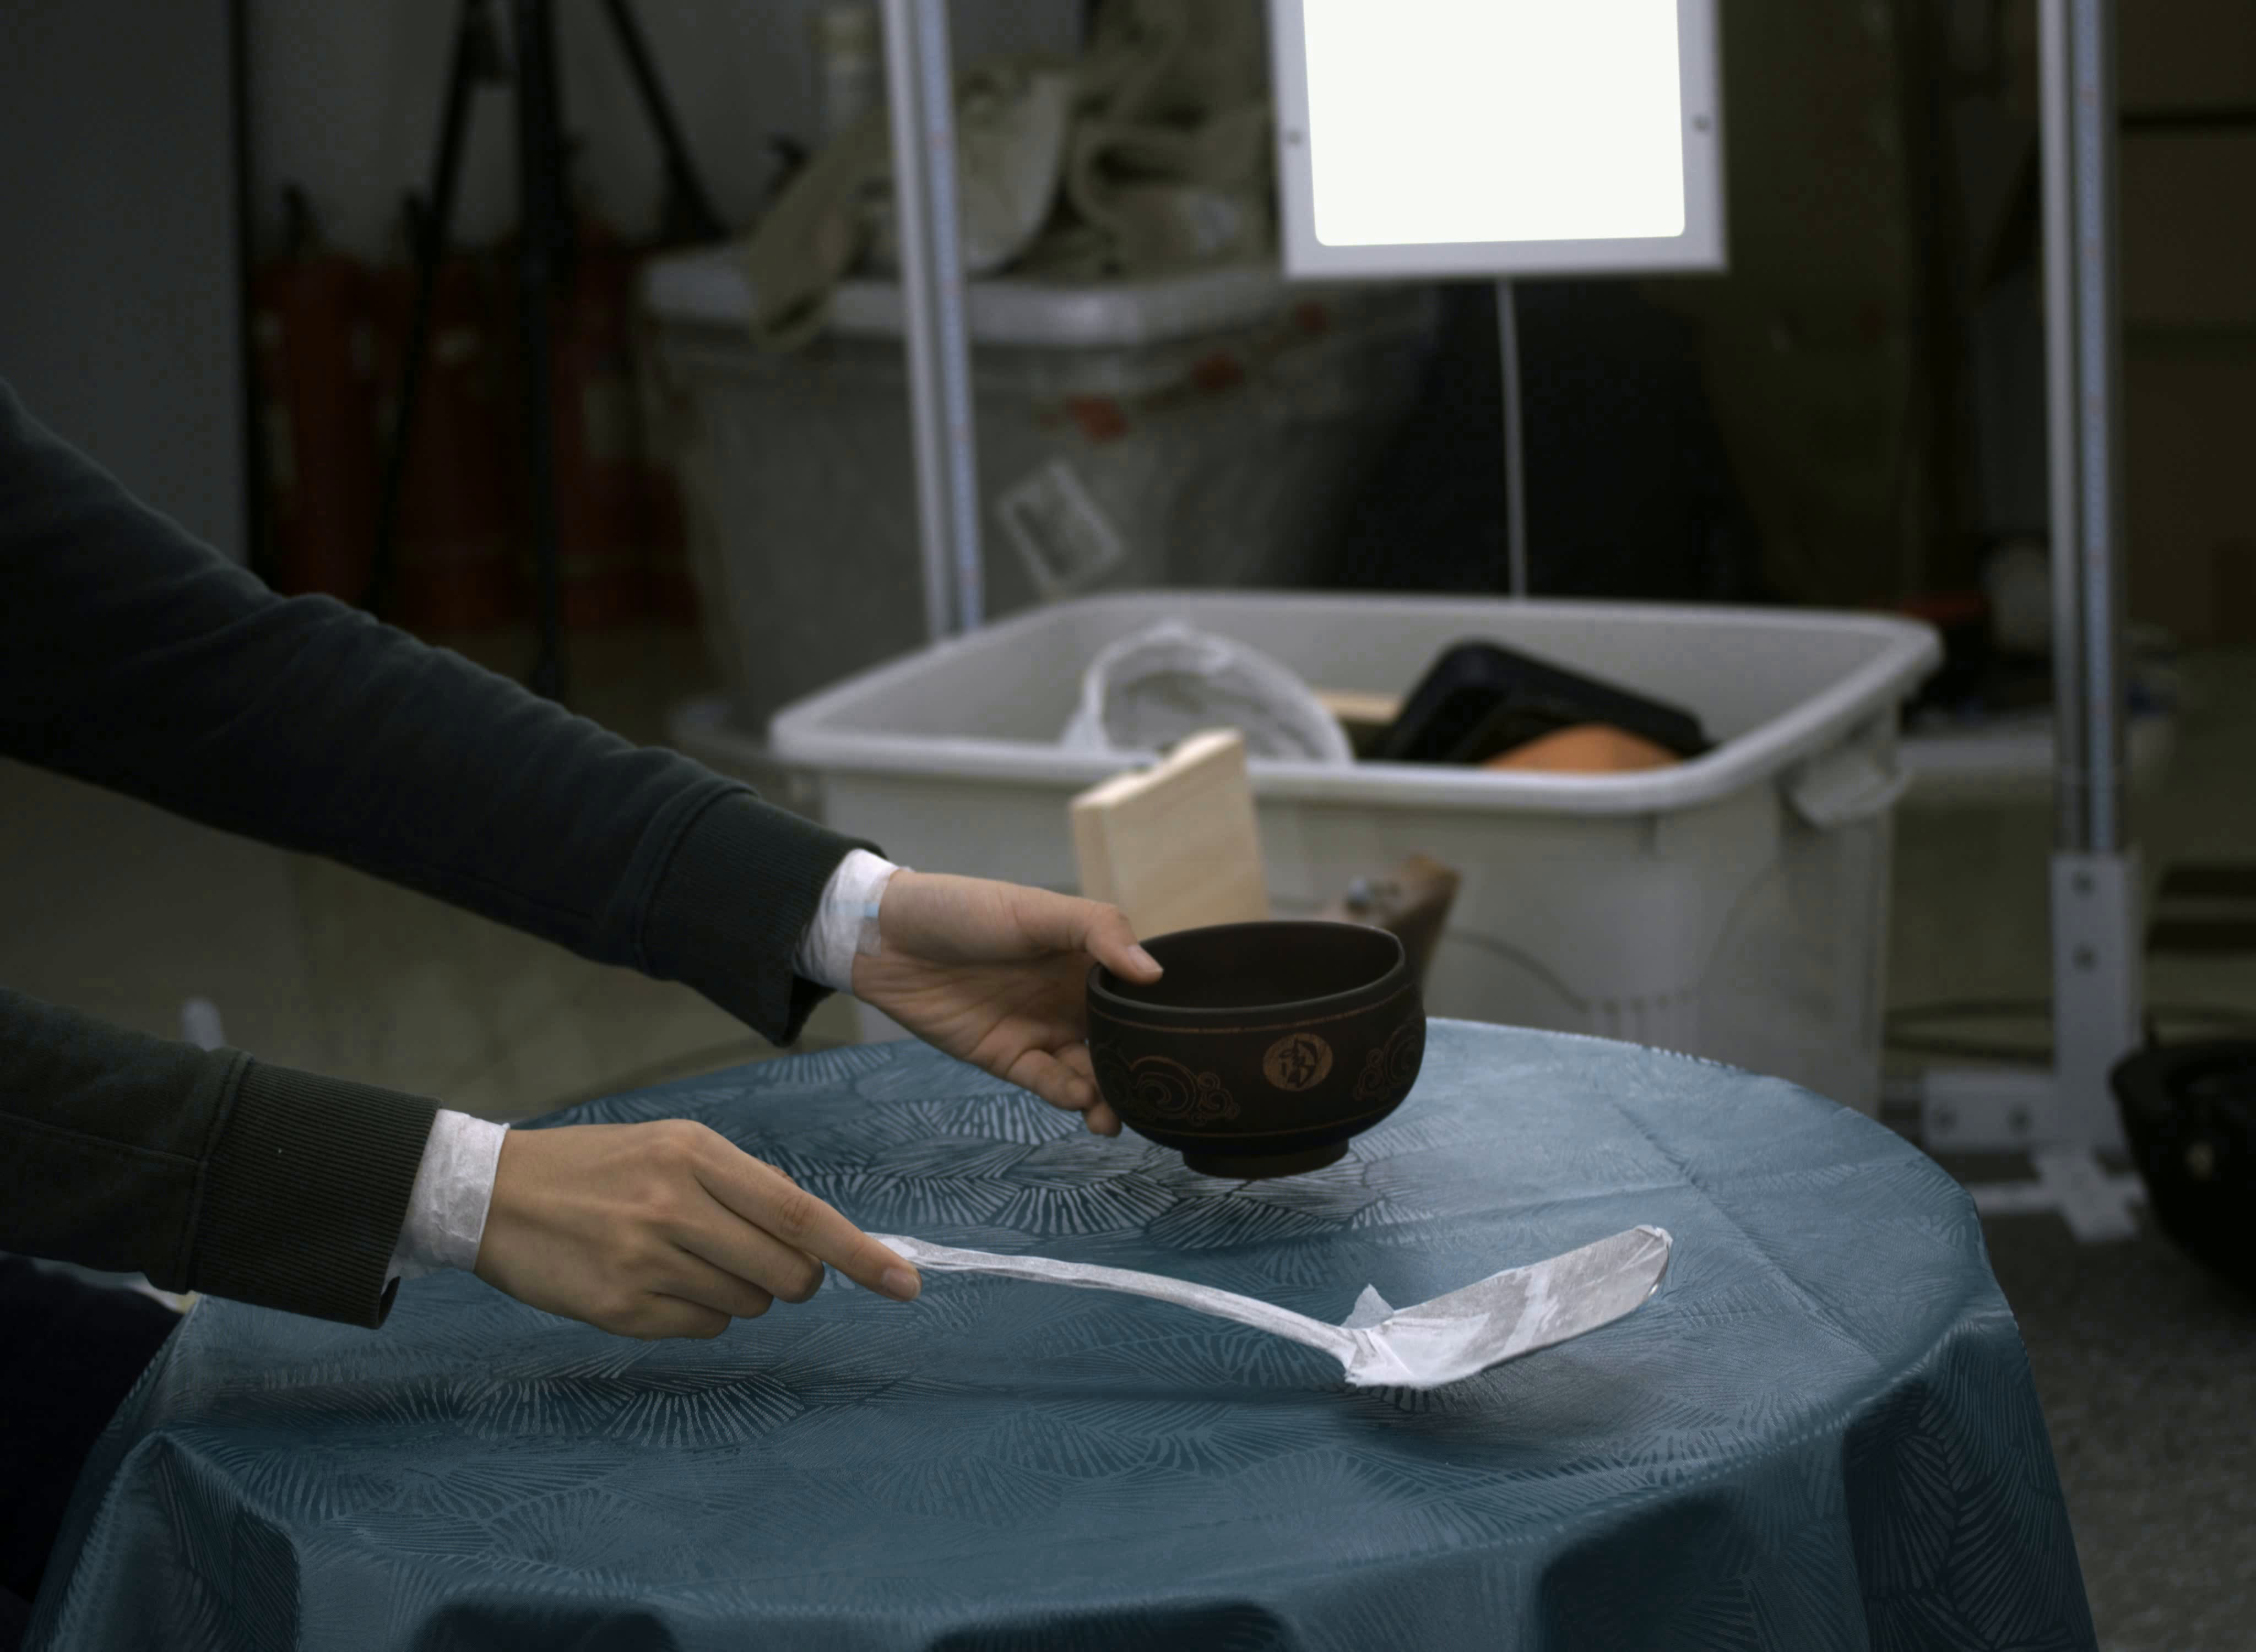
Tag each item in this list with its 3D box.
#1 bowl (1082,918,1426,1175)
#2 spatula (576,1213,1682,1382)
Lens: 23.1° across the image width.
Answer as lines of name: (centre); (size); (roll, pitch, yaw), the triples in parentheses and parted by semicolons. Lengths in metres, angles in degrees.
bowl: (0.045, 0.078, 1.878); (0.118, 0.070, 0.118); (-6, 12, 0)
spatula: (-0.010, 0.134, 1.707); (0.369, 0.045, 0.097); (6, 19, 20)
